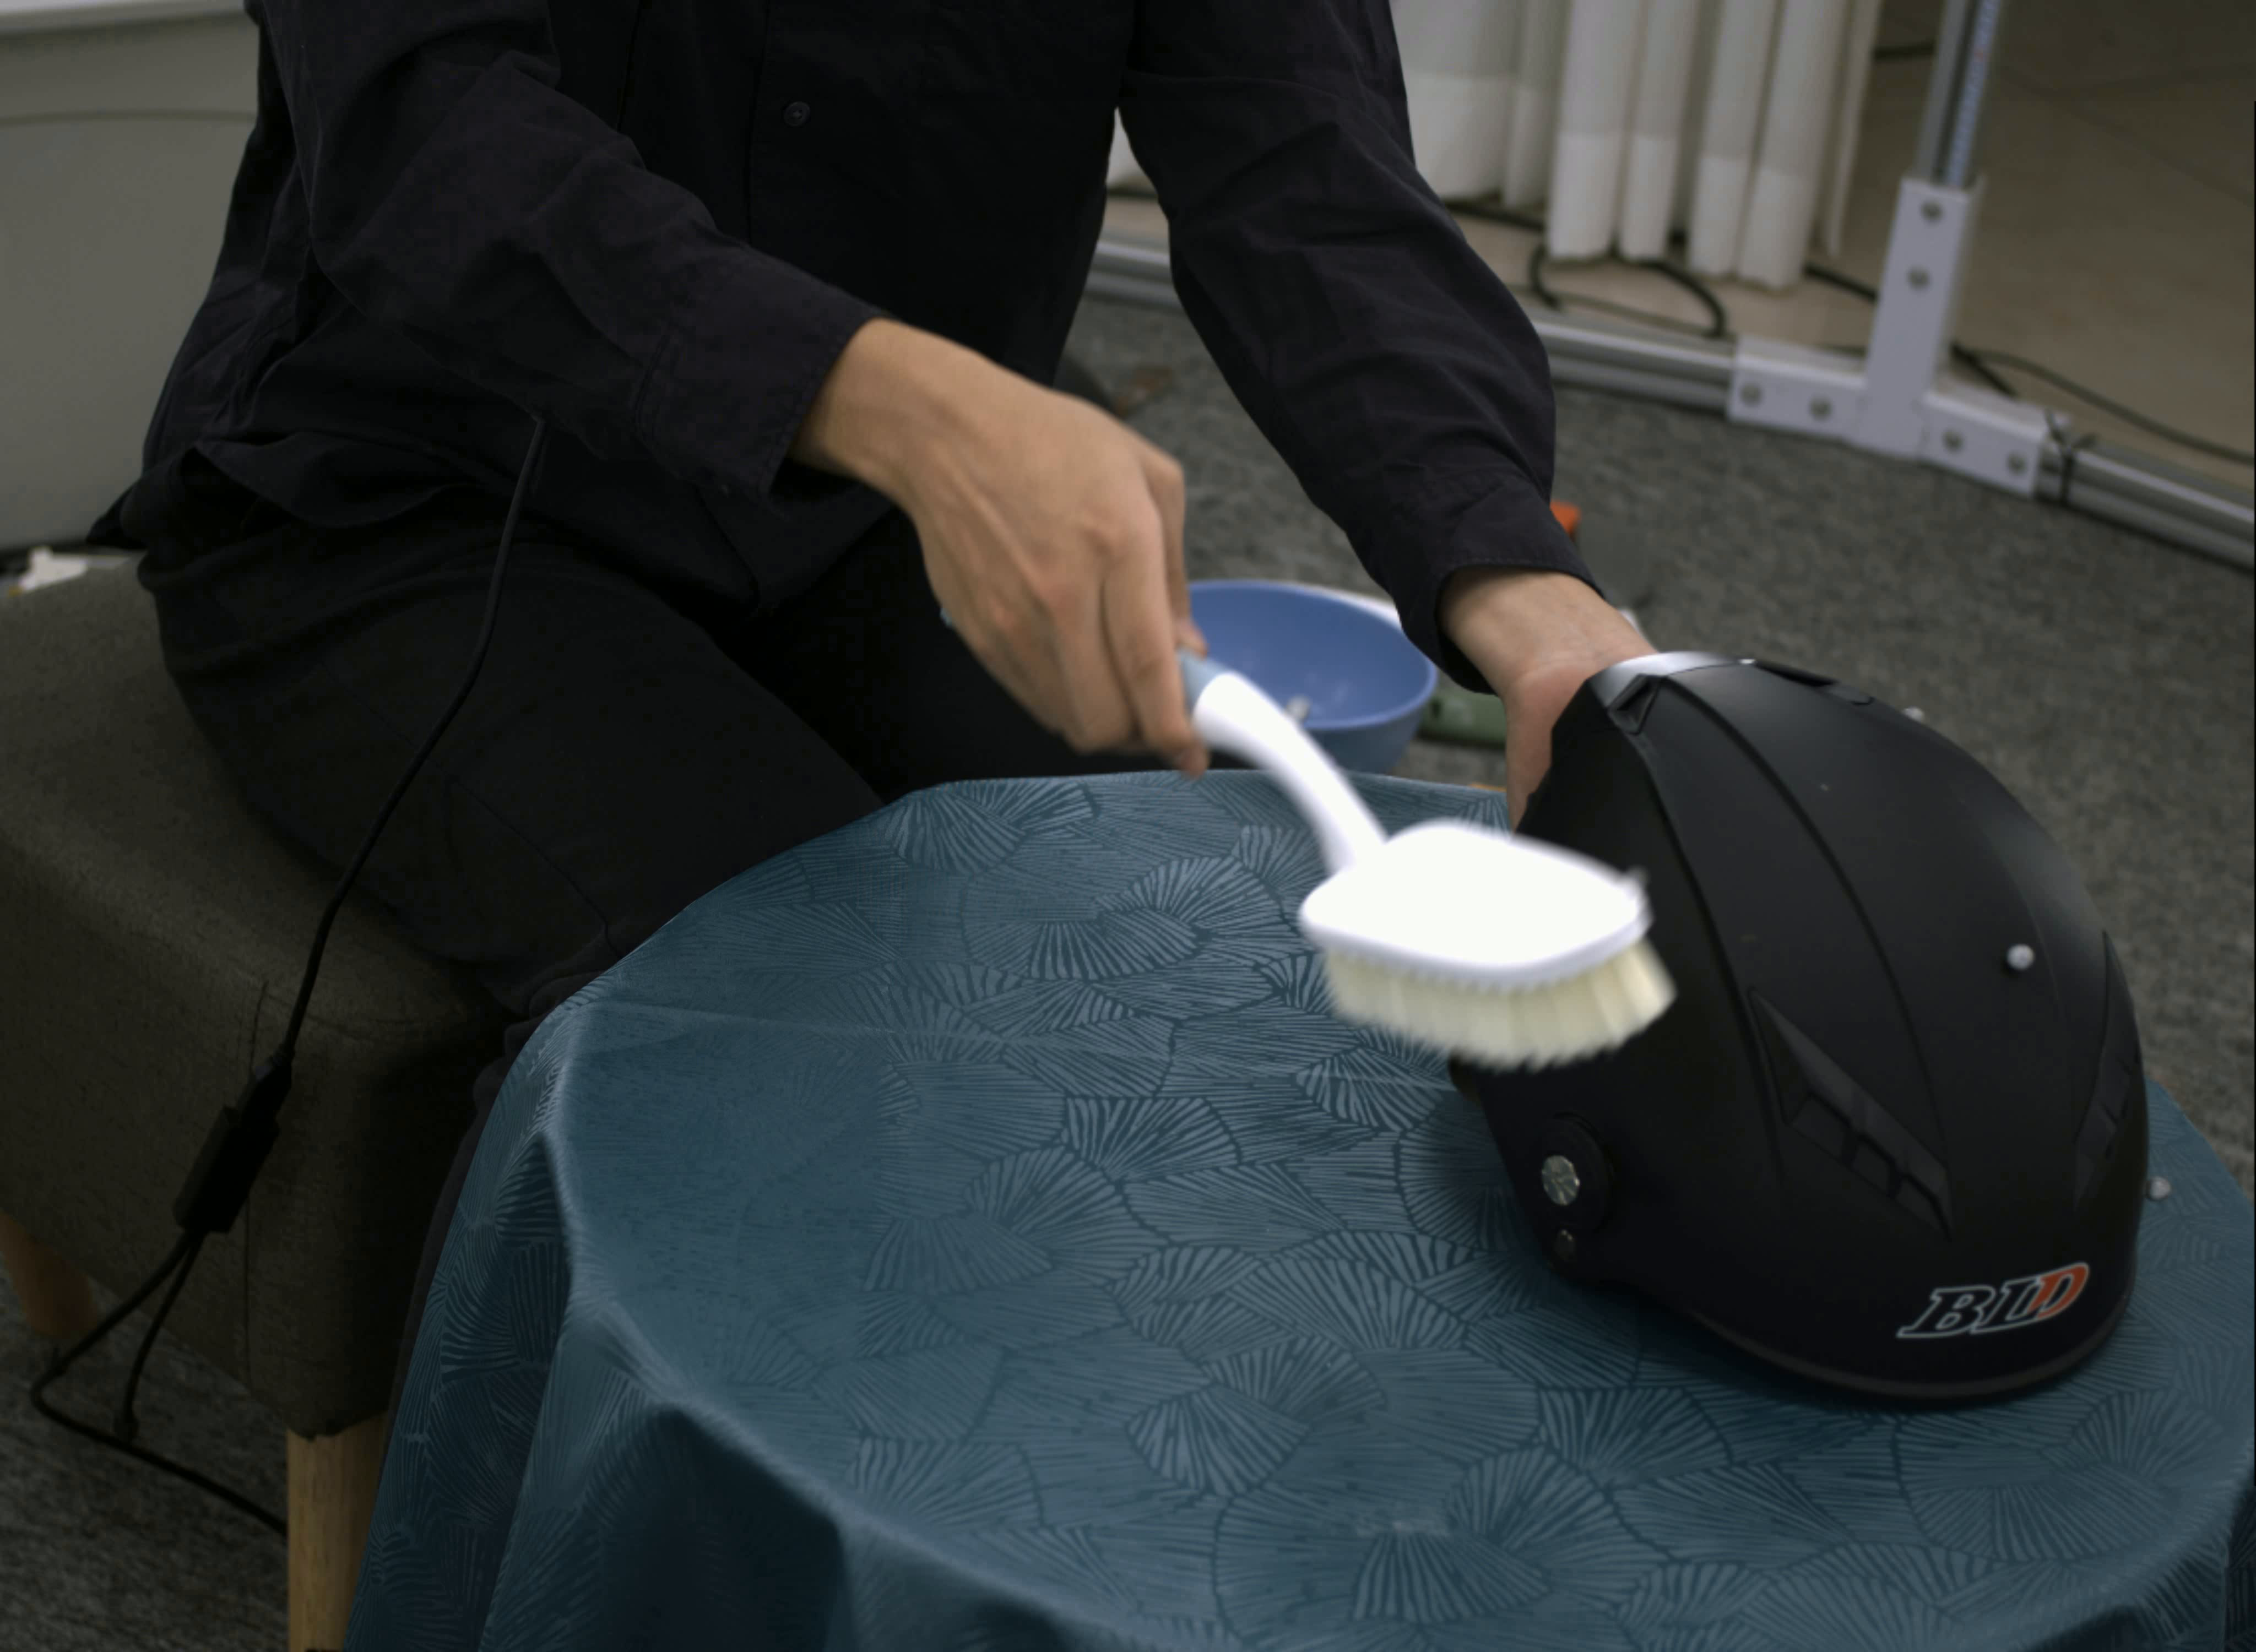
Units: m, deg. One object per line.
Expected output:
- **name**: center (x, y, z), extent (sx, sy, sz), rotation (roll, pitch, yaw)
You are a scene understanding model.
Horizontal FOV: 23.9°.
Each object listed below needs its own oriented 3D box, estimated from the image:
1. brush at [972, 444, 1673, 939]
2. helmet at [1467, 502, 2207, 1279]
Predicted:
- **brush**: center (0.061, -0.036, 1.764), extent (0.082, 0.084, 0.328), rotation (14, 12, -46)
- **helmet**: center (0.251, 0.014, 1.827), extent (0.245, 0.172, 0.279), rotation (-7, 41, -24)
